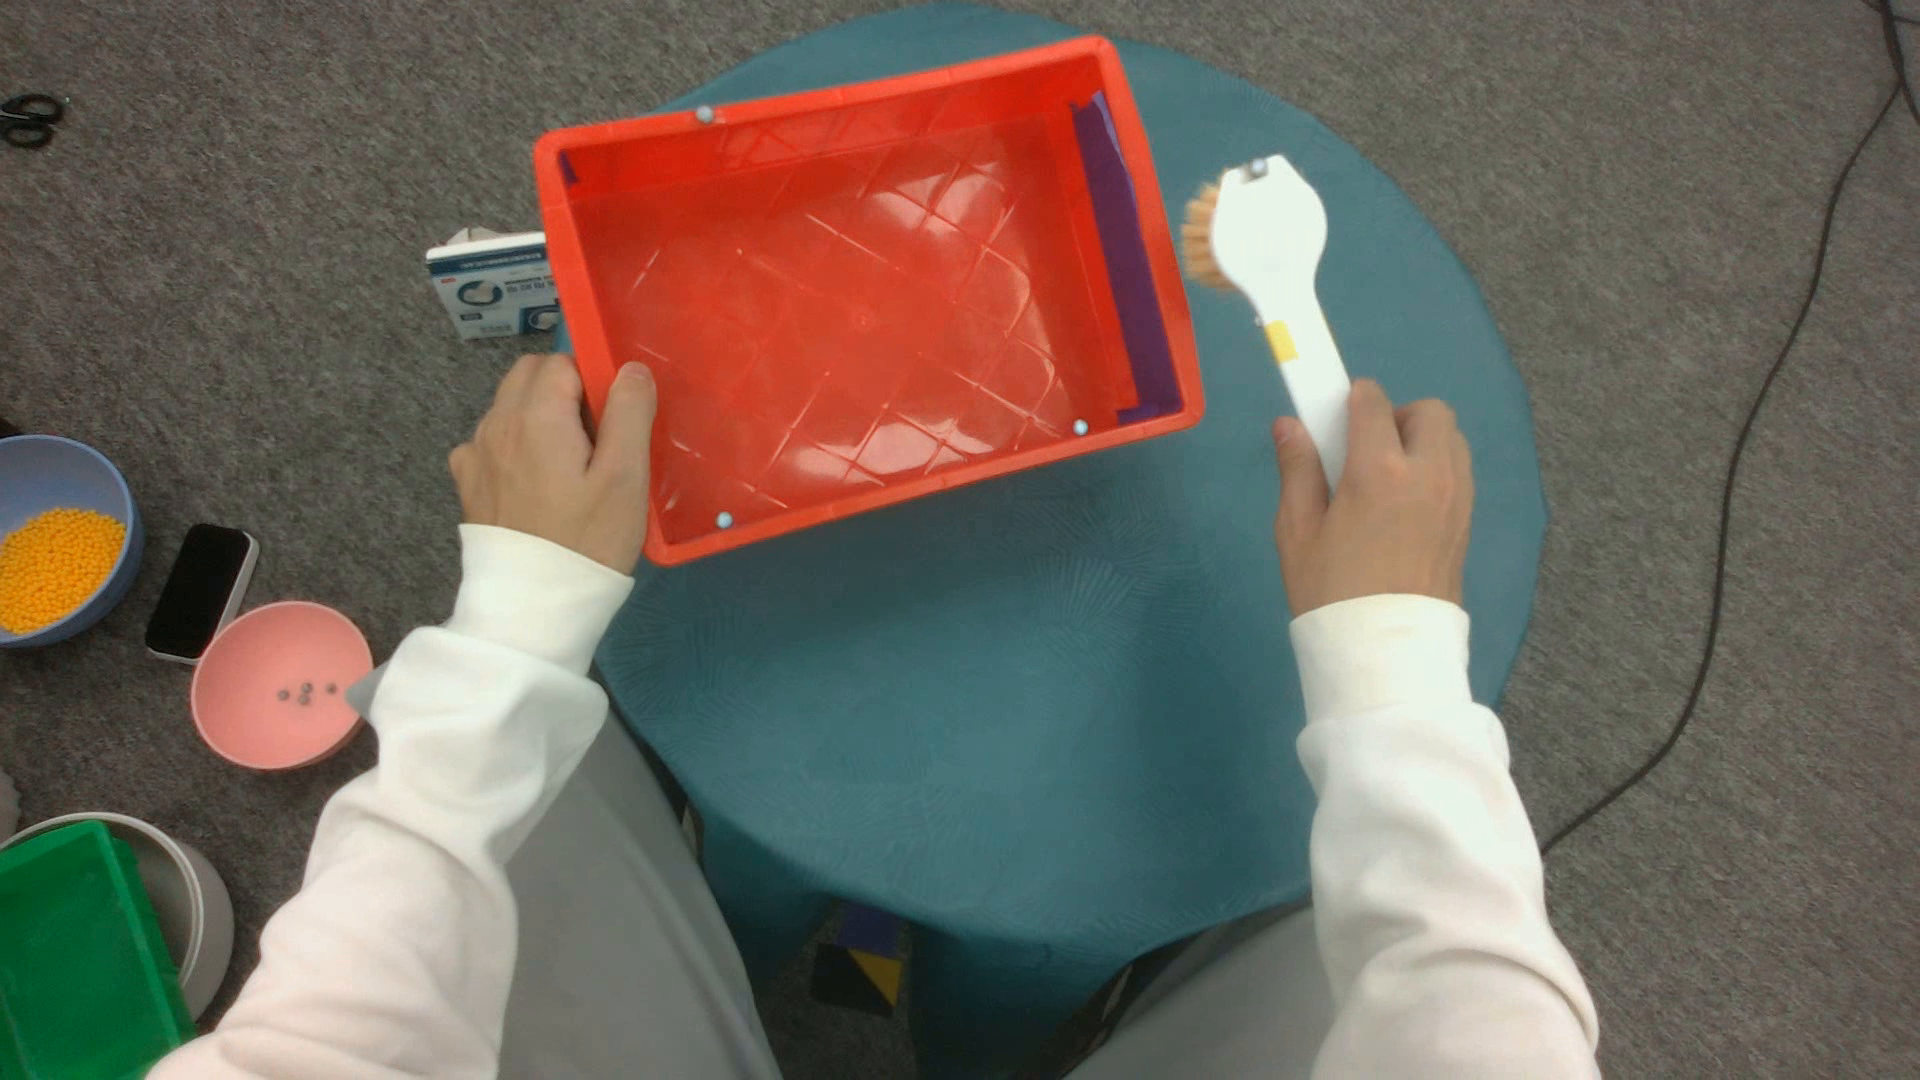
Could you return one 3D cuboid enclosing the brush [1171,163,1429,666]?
[{"bbox_3d":[0.177,-0.064,0.704,0.068,0.056,0.266,-21,92,9],"label":"brush"}]

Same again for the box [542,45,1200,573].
[{"bbox_3d":[-0.045,-0.120,0.727,0.304,0.096,0.206,-17,92,-13],"label":"box"}]
